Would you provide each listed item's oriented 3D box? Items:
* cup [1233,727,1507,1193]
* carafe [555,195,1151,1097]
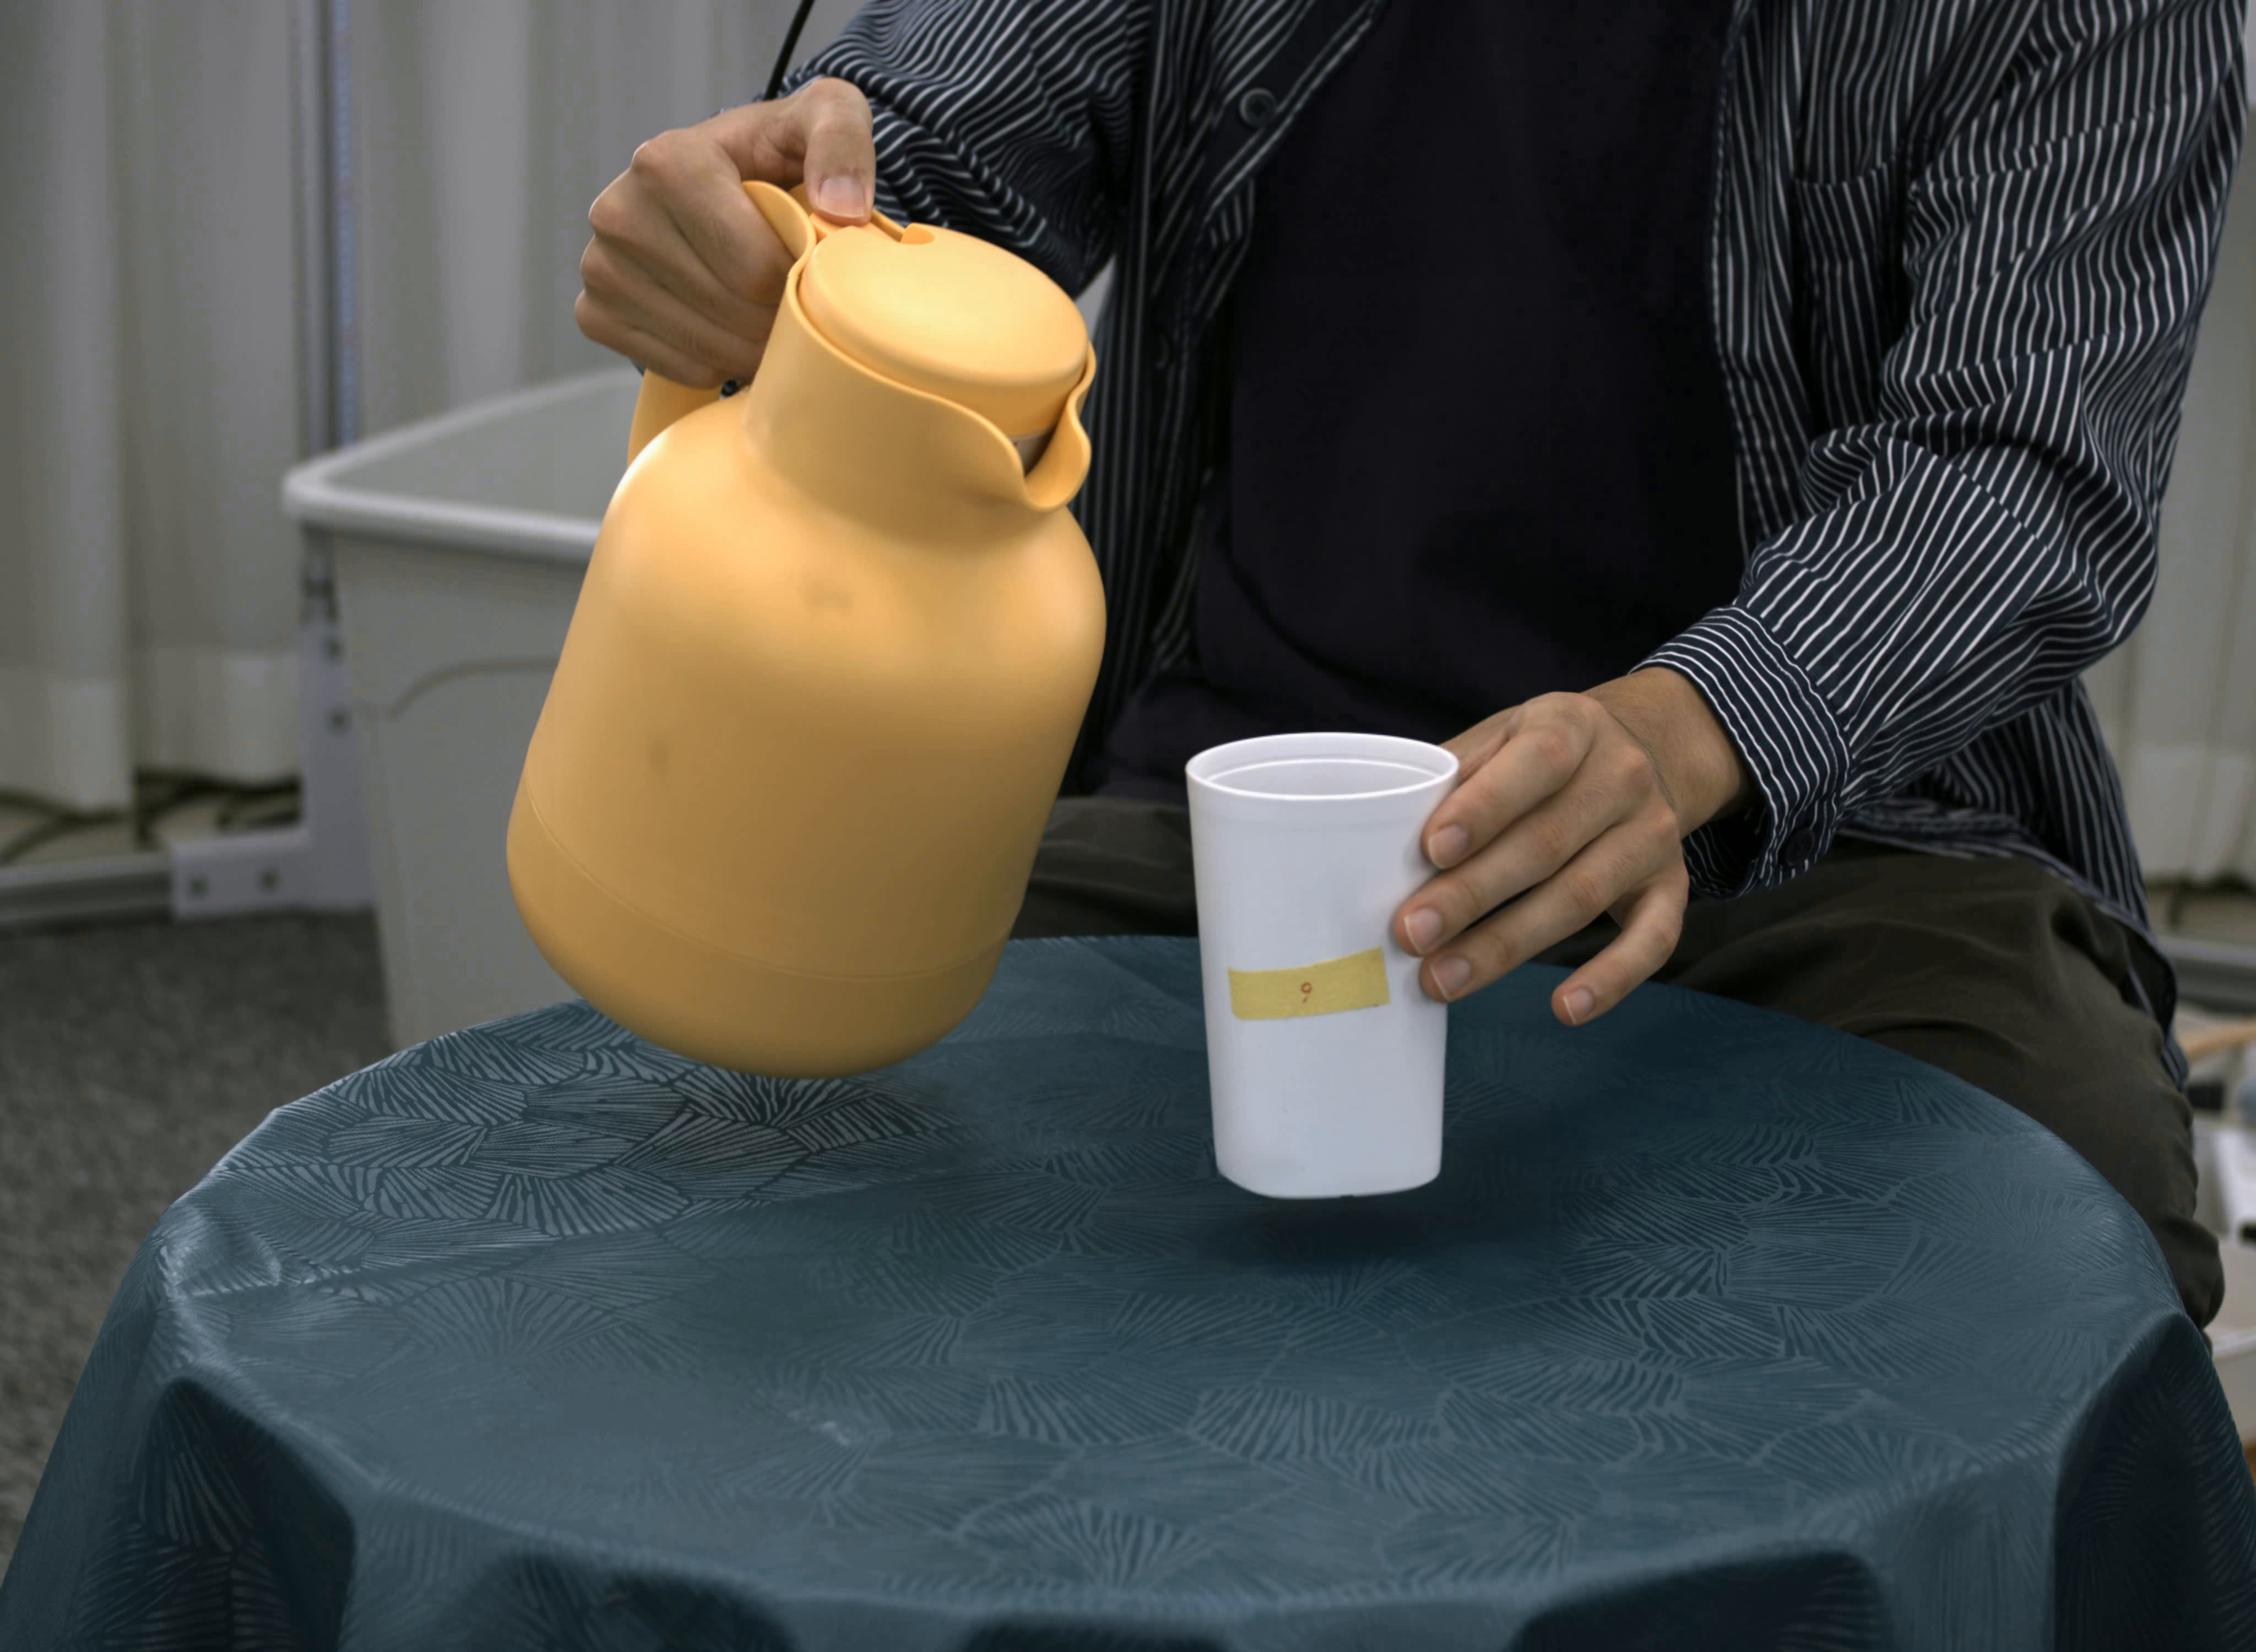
[{"bbox_3d":[0.072,0.040,1.567,0.081,0.126,0.081,-1,14,1],"label":"cup"},{"bbox_3d":[-0.085,-0.065,1.641,0.164,0.262,0.200,-7,41,-38],"label":"carafe"}]
